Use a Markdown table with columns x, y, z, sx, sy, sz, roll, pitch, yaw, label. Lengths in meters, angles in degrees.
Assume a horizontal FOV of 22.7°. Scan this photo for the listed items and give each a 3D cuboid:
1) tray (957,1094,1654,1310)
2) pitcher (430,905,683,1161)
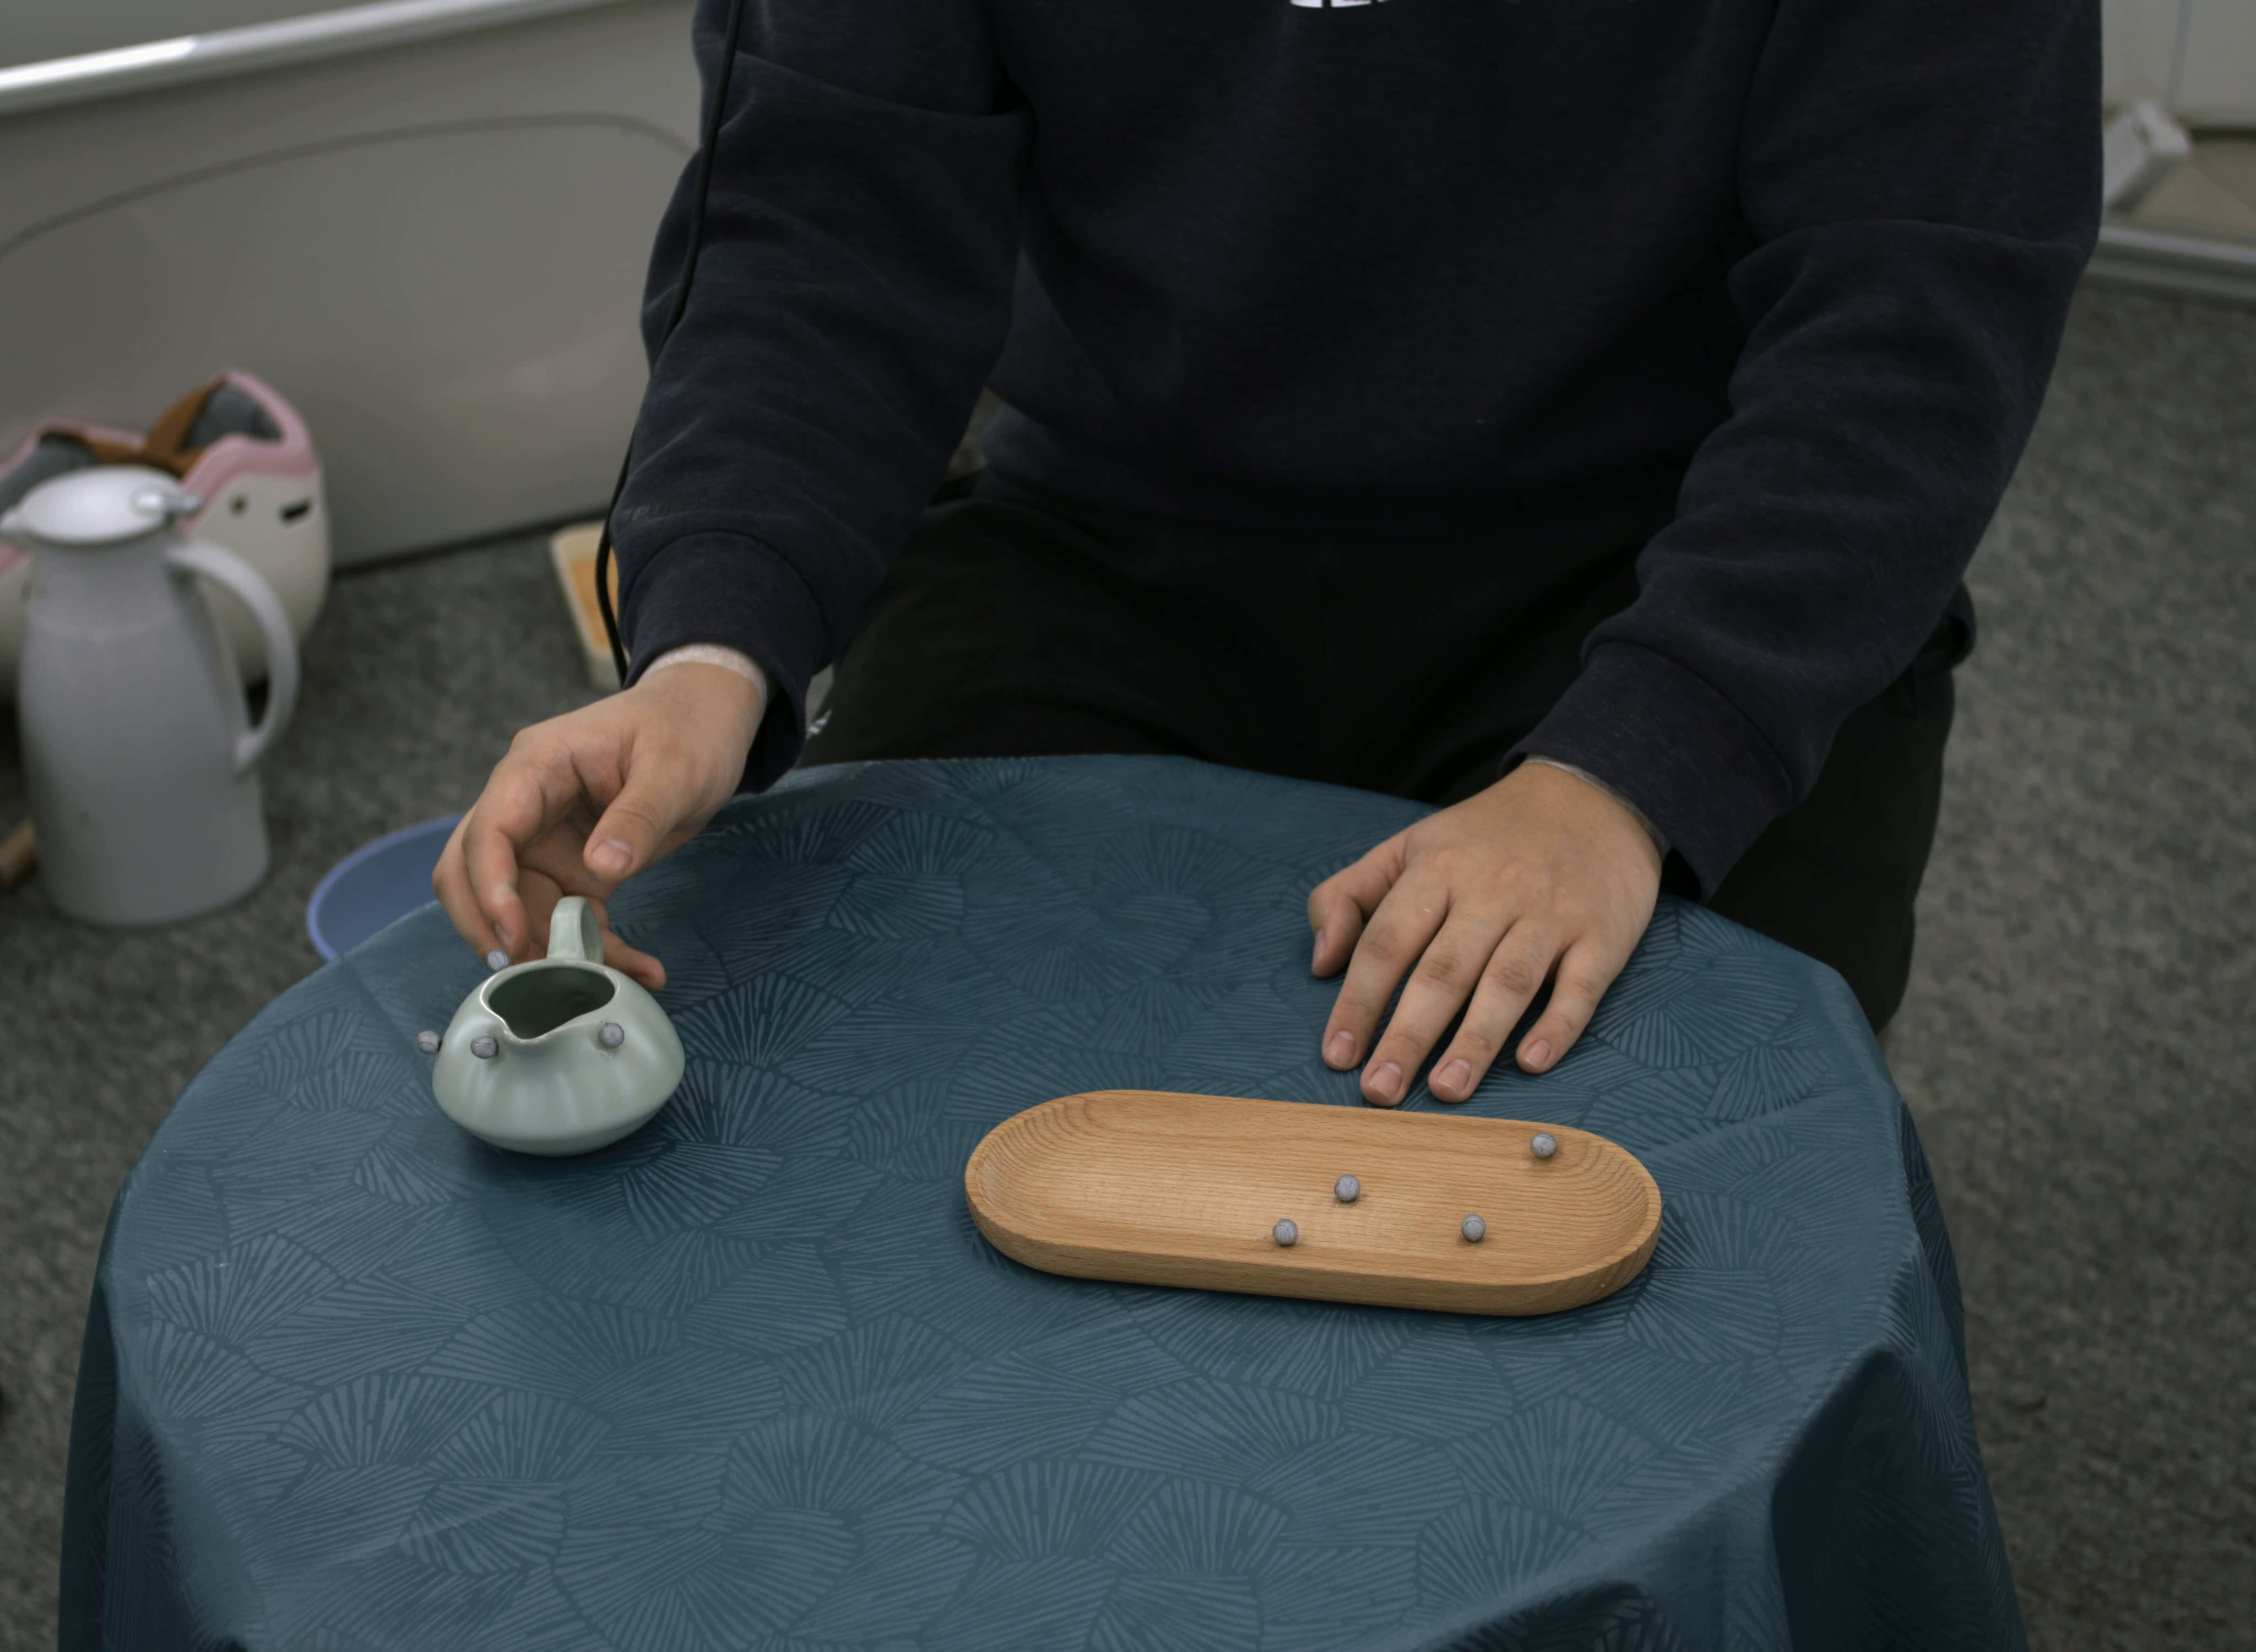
| x | y | z | sx | sy | sz | roll | pitch | yaw | label |
| --- | --- | --- | --- | --- | --- | --- | --- | --- | --- |
| 0.057 | 0.123 | 1.840 | 0.229 | 0.020 | 0.103 | 2 | 26 | 13 | tray |
| -0.194 | 0.072 | 1.918 | 0.085 | 0.060 | 0.109 | 0 | 25 | 3 | pitcher |
